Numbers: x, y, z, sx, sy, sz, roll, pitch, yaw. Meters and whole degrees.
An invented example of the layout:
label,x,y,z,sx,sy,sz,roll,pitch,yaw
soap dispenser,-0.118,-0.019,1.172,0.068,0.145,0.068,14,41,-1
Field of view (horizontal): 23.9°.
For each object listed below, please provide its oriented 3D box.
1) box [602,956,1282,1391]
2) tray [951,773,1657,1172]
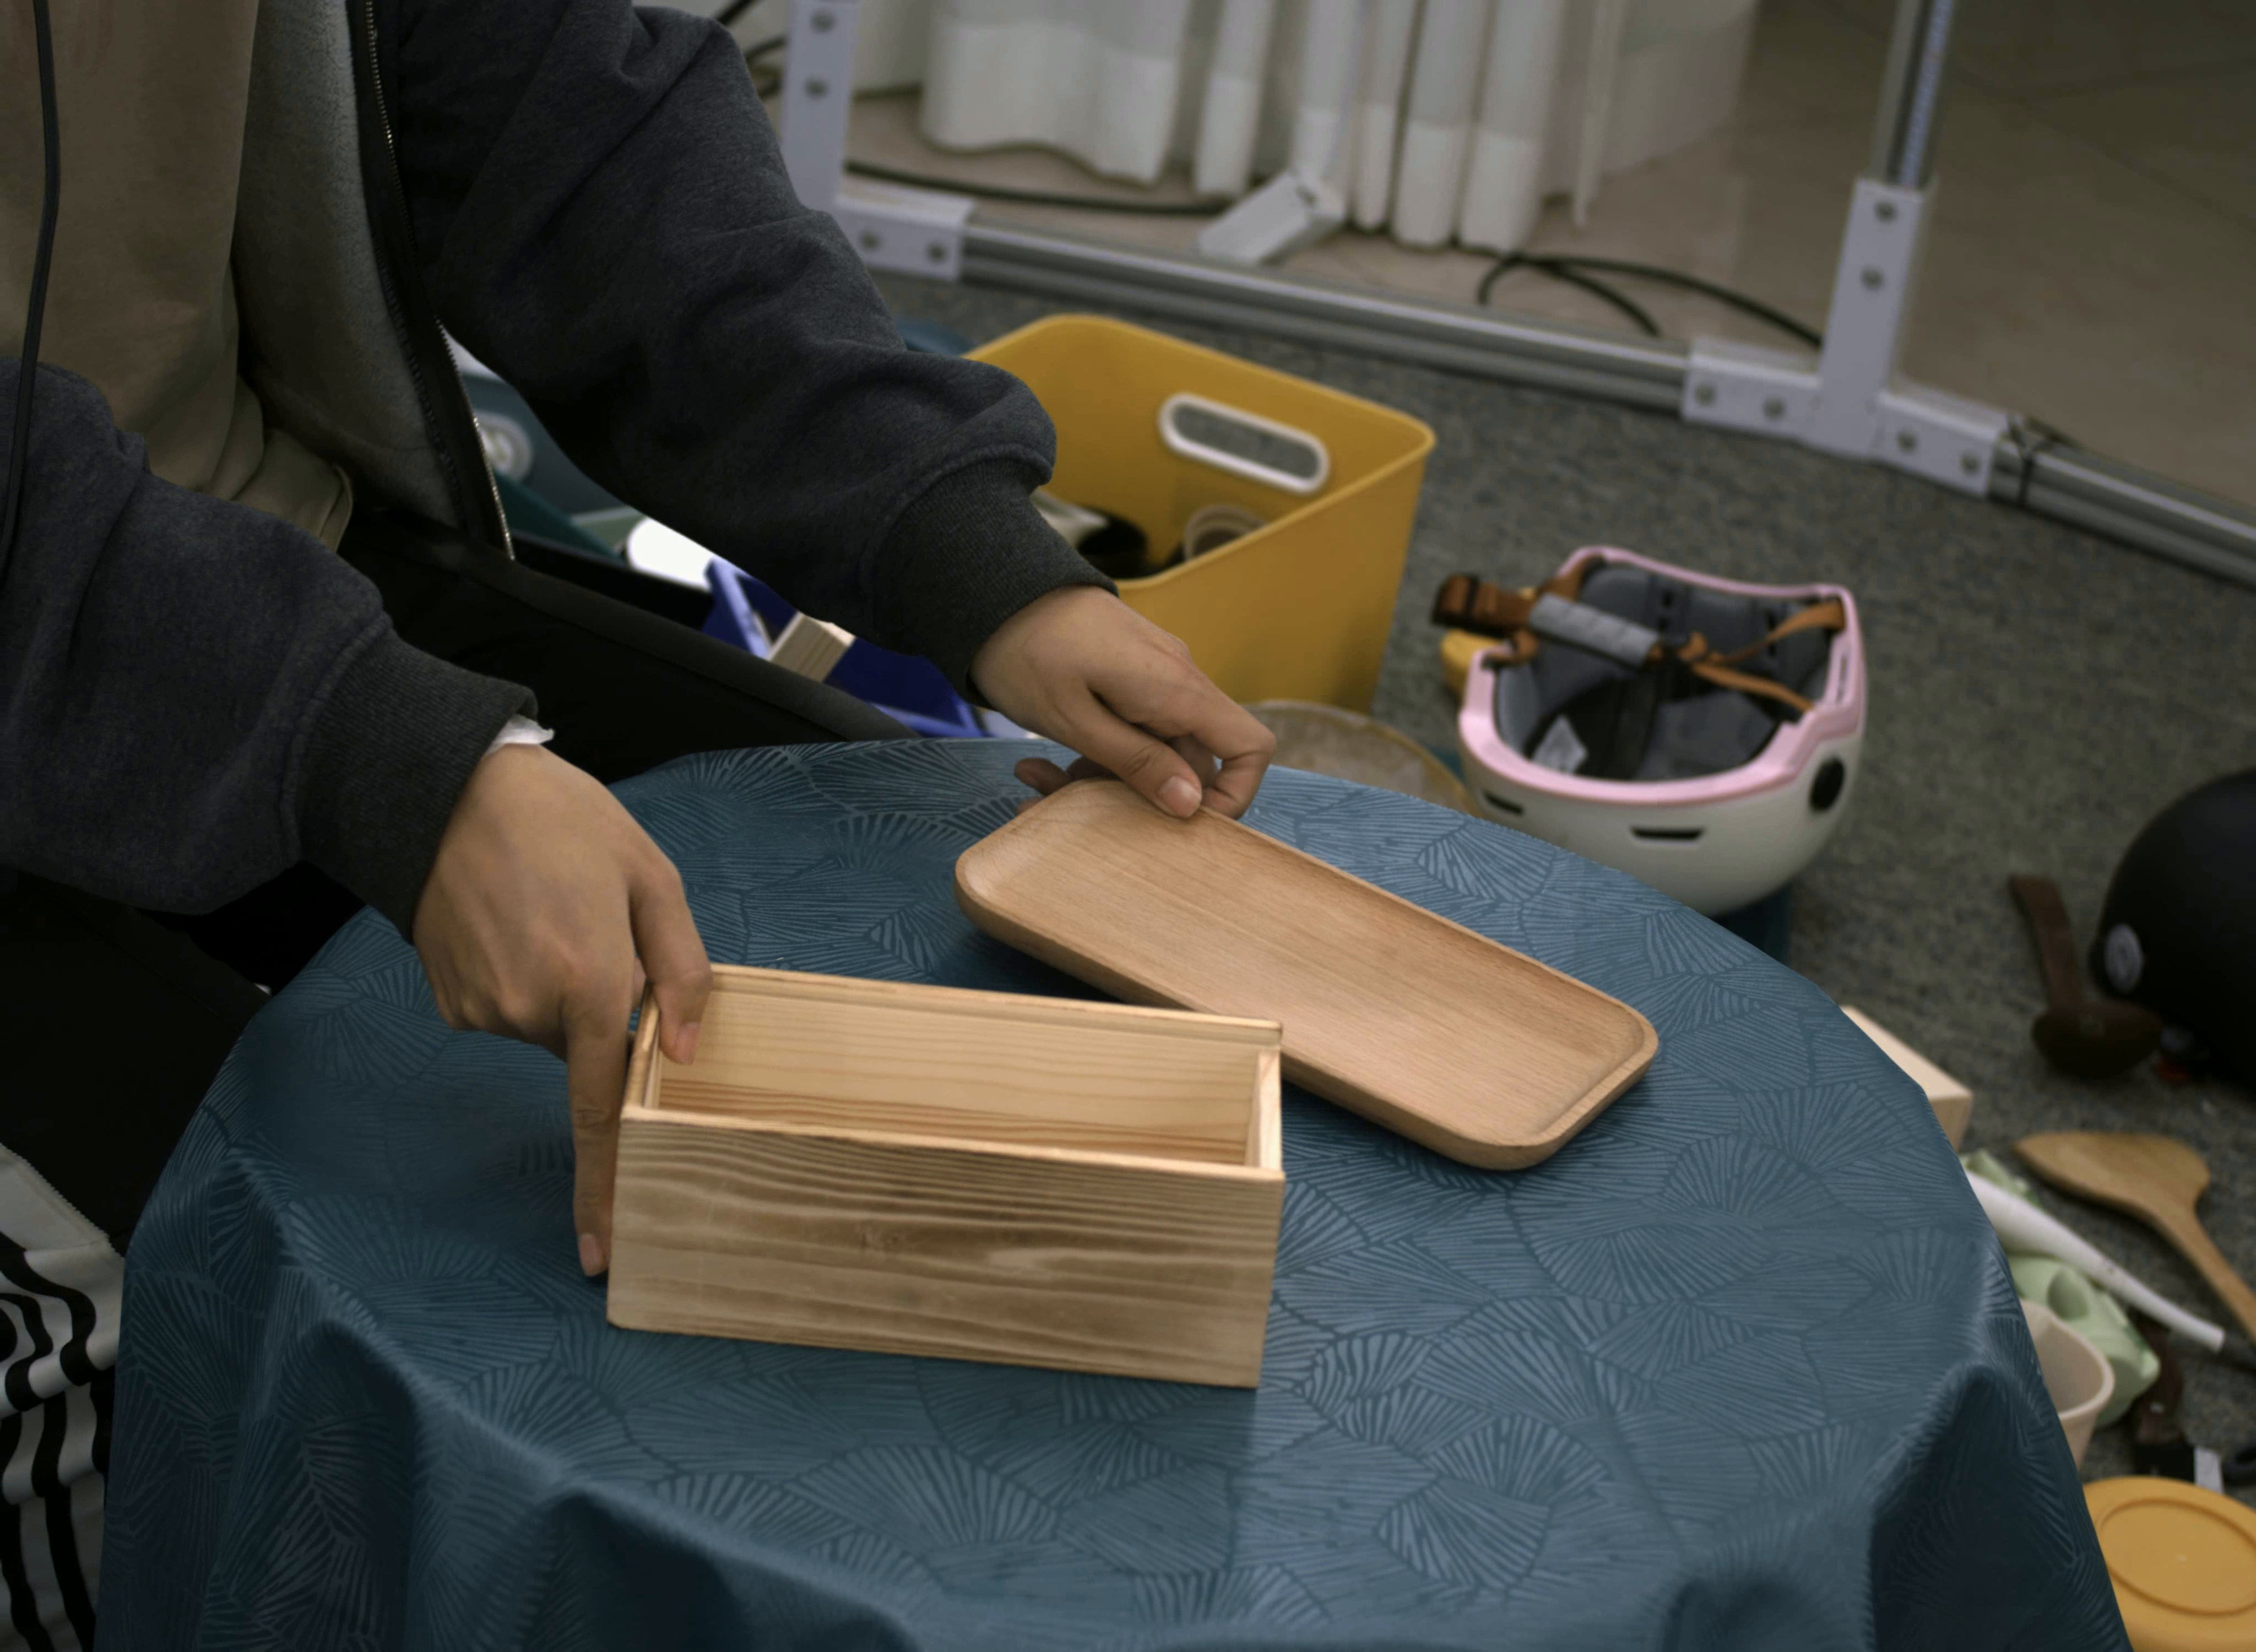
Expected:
label,x,y,z,sx,sy,sz,roll,pitch,yaw
box,-0.059,0.112,1.725,0.211,0.080,0.108,6,27,-1
tray,0.062,0.051,1.917,0.252,0.023,0.130,25,29,24
